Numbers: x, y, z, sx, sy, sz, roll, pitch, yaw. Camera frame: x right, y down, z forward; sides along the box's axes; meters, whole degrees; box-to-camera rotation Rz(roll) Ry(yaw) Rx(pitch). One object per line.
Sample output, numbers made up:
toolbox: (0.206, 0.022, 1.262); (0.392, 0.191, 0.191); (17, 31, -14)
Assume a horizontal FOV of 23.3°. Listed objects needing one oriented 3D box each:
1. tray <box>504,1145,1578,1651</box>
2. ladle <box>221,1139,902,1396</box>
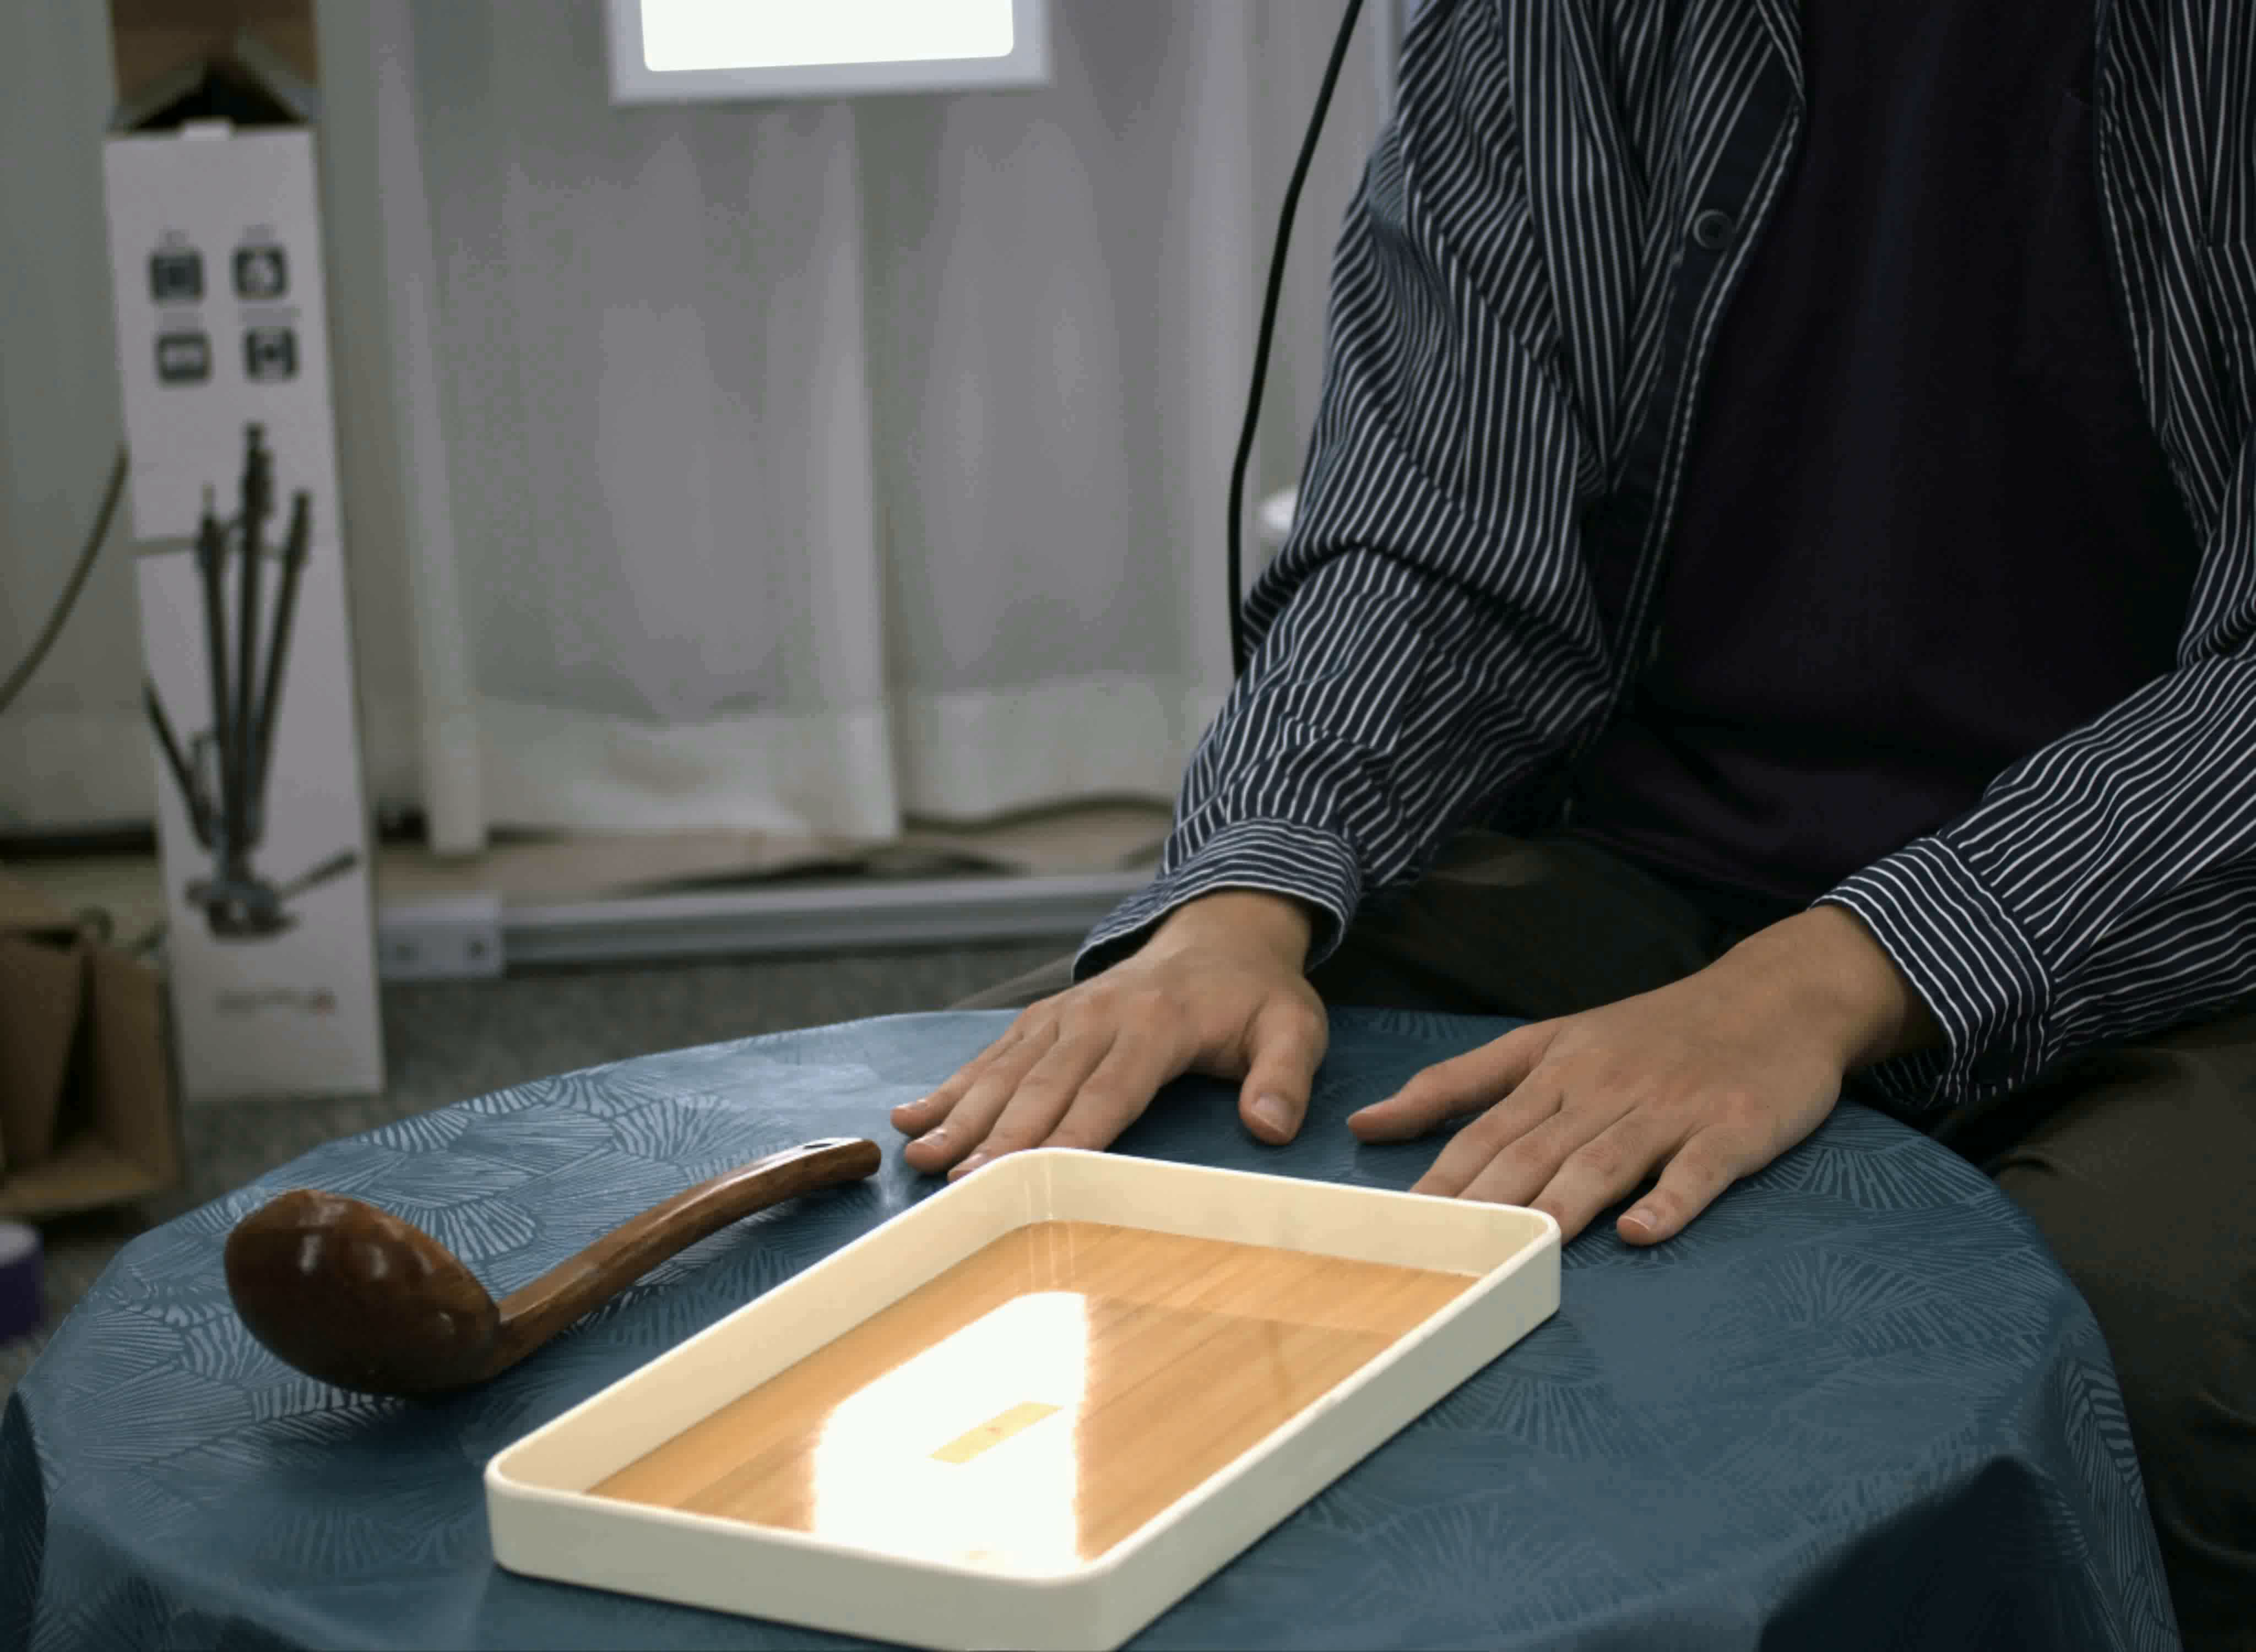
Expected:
tray: (-0.017, 0.154, 1.526); (0.192, 0.027, 0.300); (5, 17, 30)
ladle: (-0.161, 0.107, 1.631); (0.082, 0.076, 0.274); (2, 15, 34)
